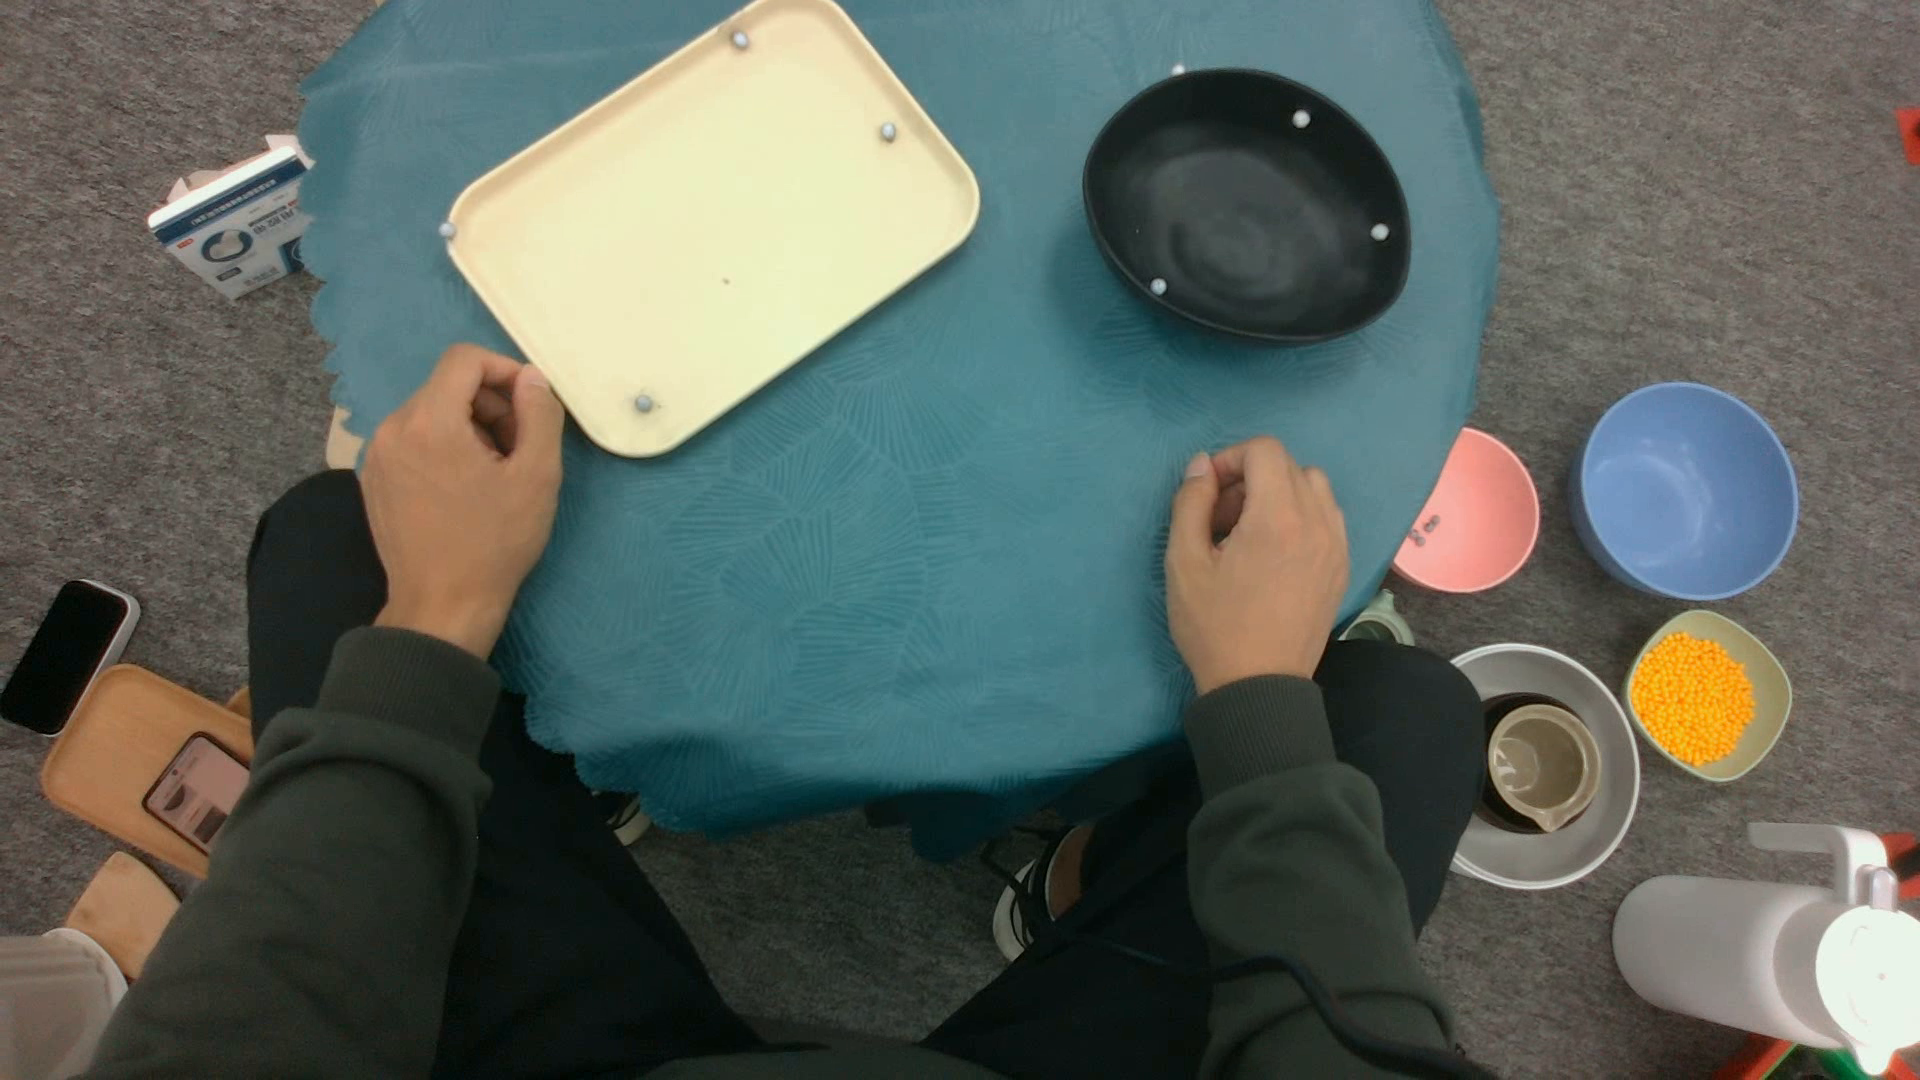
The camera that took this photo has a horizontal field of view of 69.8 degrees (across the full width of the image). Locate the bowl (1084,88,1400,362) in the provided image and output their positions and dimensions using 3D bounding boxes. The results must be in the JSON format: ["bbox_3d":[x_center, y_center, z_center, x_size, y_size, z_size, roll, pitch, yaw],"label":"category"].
[{"bbox_3d":[0.143,-0.155,0.716,0.170,0.066,0.137,20,79,0],"label":"bowl"}]

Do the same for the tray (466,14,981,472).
[{"bbox_3d":[-0.121,-0.158,0.724,0.240,0.017,0.171,-38,83,-10],"label":"tray"}]
